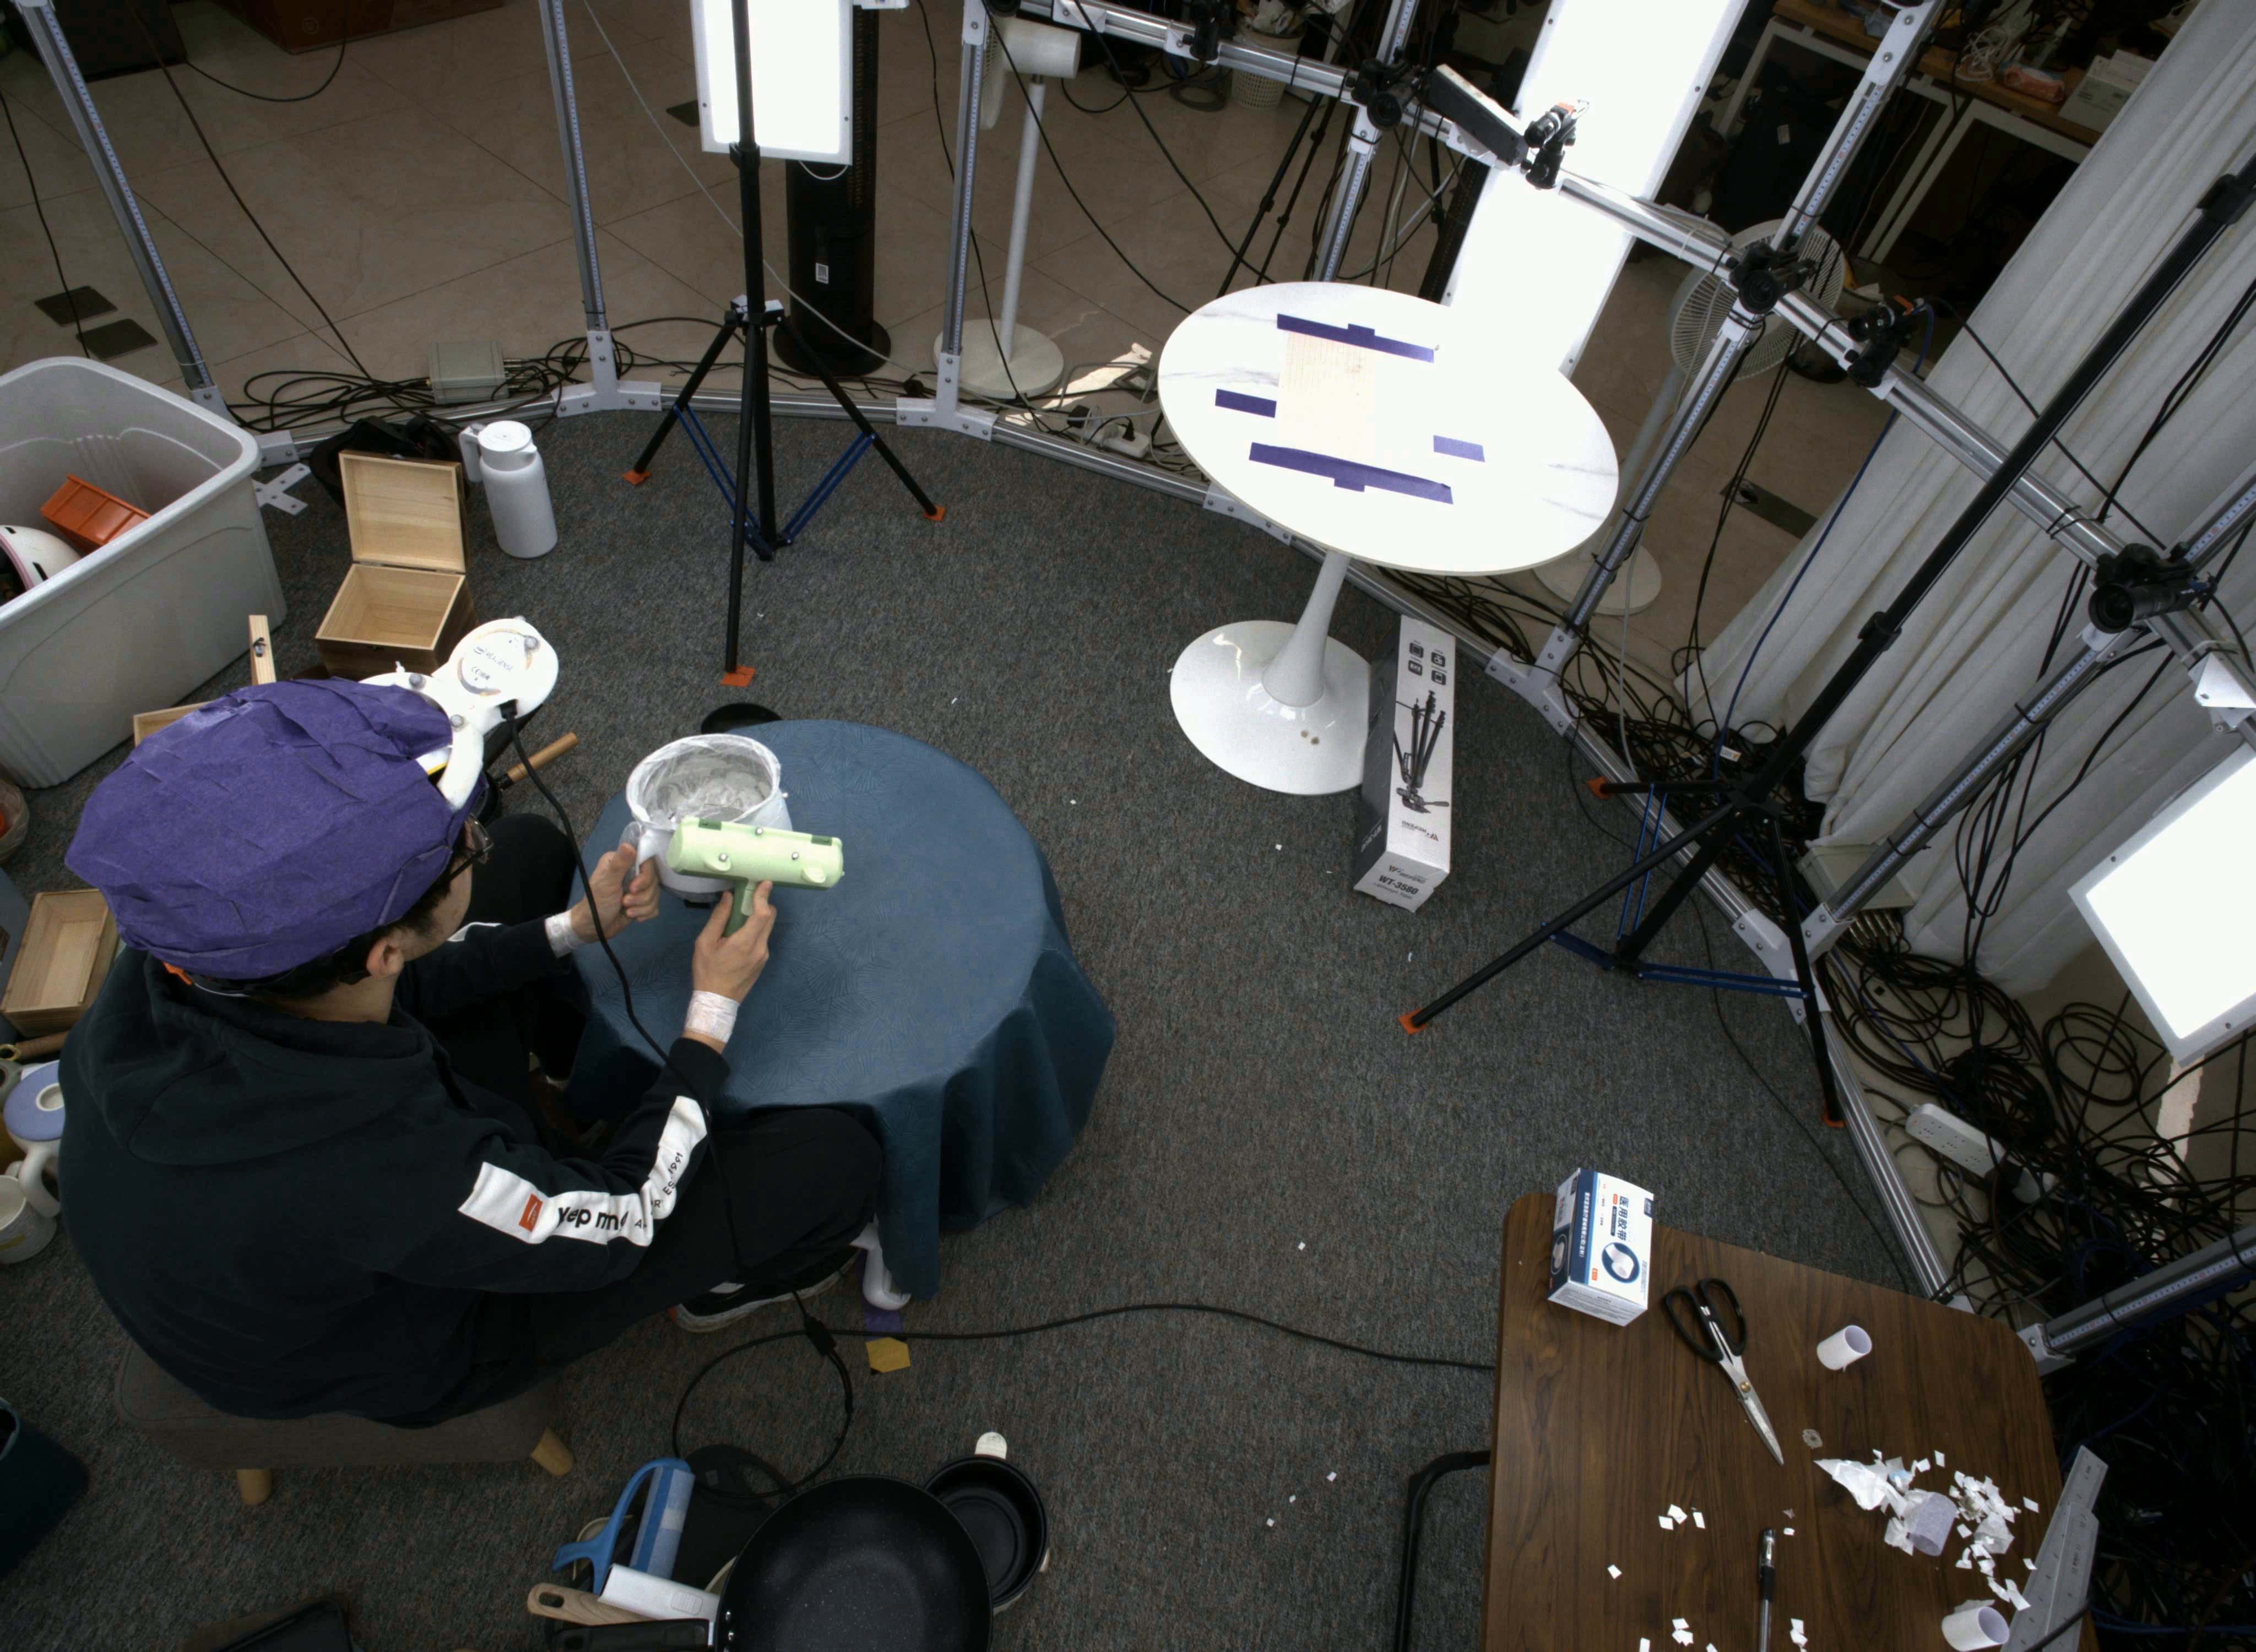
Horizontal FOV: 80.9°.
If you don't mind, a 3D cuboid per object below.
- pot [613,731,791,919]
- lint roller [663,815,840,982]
[{"bbox_3d":[-0.512,0.006,1.520,0.173,0.141,0.234,25,46,24],"label":"pot"},{"bbox_3d":[-0.429,0.090,1.462,0.203,0.186,0.079,9,3,-41],"label":"lint roller"}]
